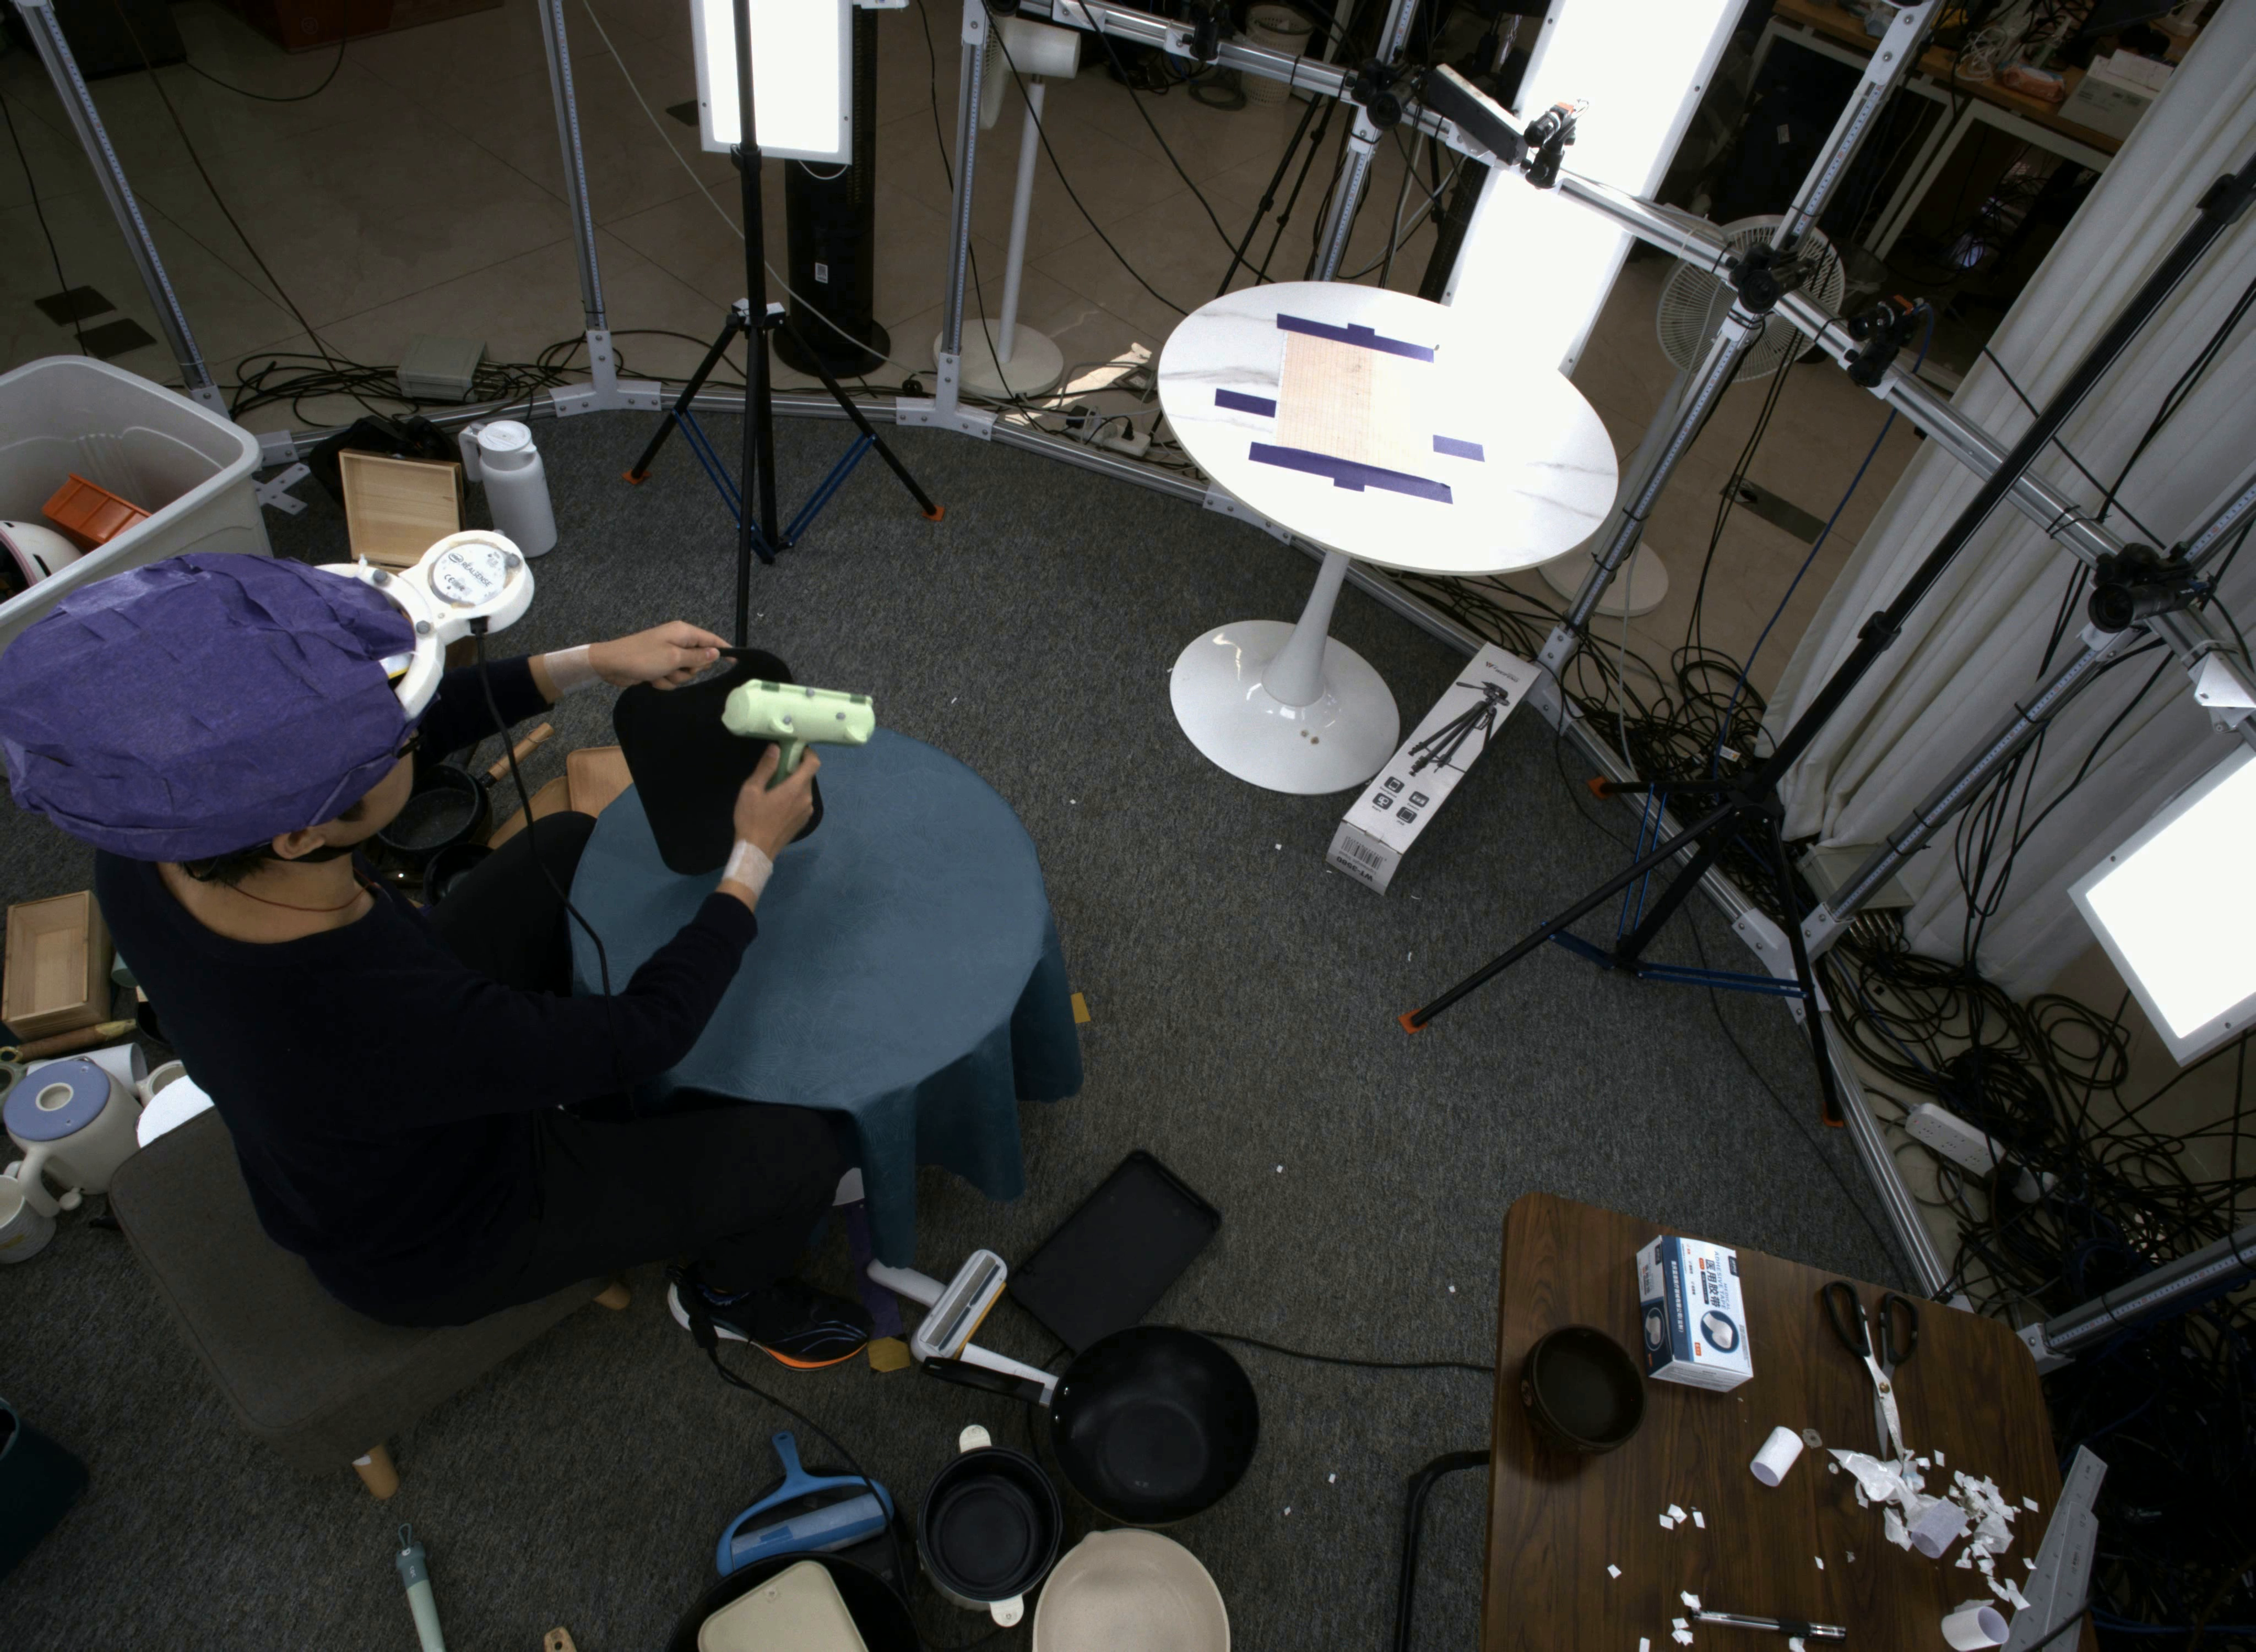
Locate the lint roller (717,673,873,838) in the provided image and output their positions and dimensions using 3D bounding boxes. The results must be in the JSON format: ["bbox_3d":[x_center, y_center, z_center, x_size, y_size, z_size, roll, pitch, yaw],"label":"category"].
[{"bbox_3d":[-0.382,-0.072,1.487,0.079,0.186,0.203,15,7,33],"label":"lint roller"}]

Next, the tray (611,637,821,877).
[{"bbox_3d":[-0.490,-0.082,1.542,0.211,0.336,0.009,-22,48,-19],"label":"tray"}]
